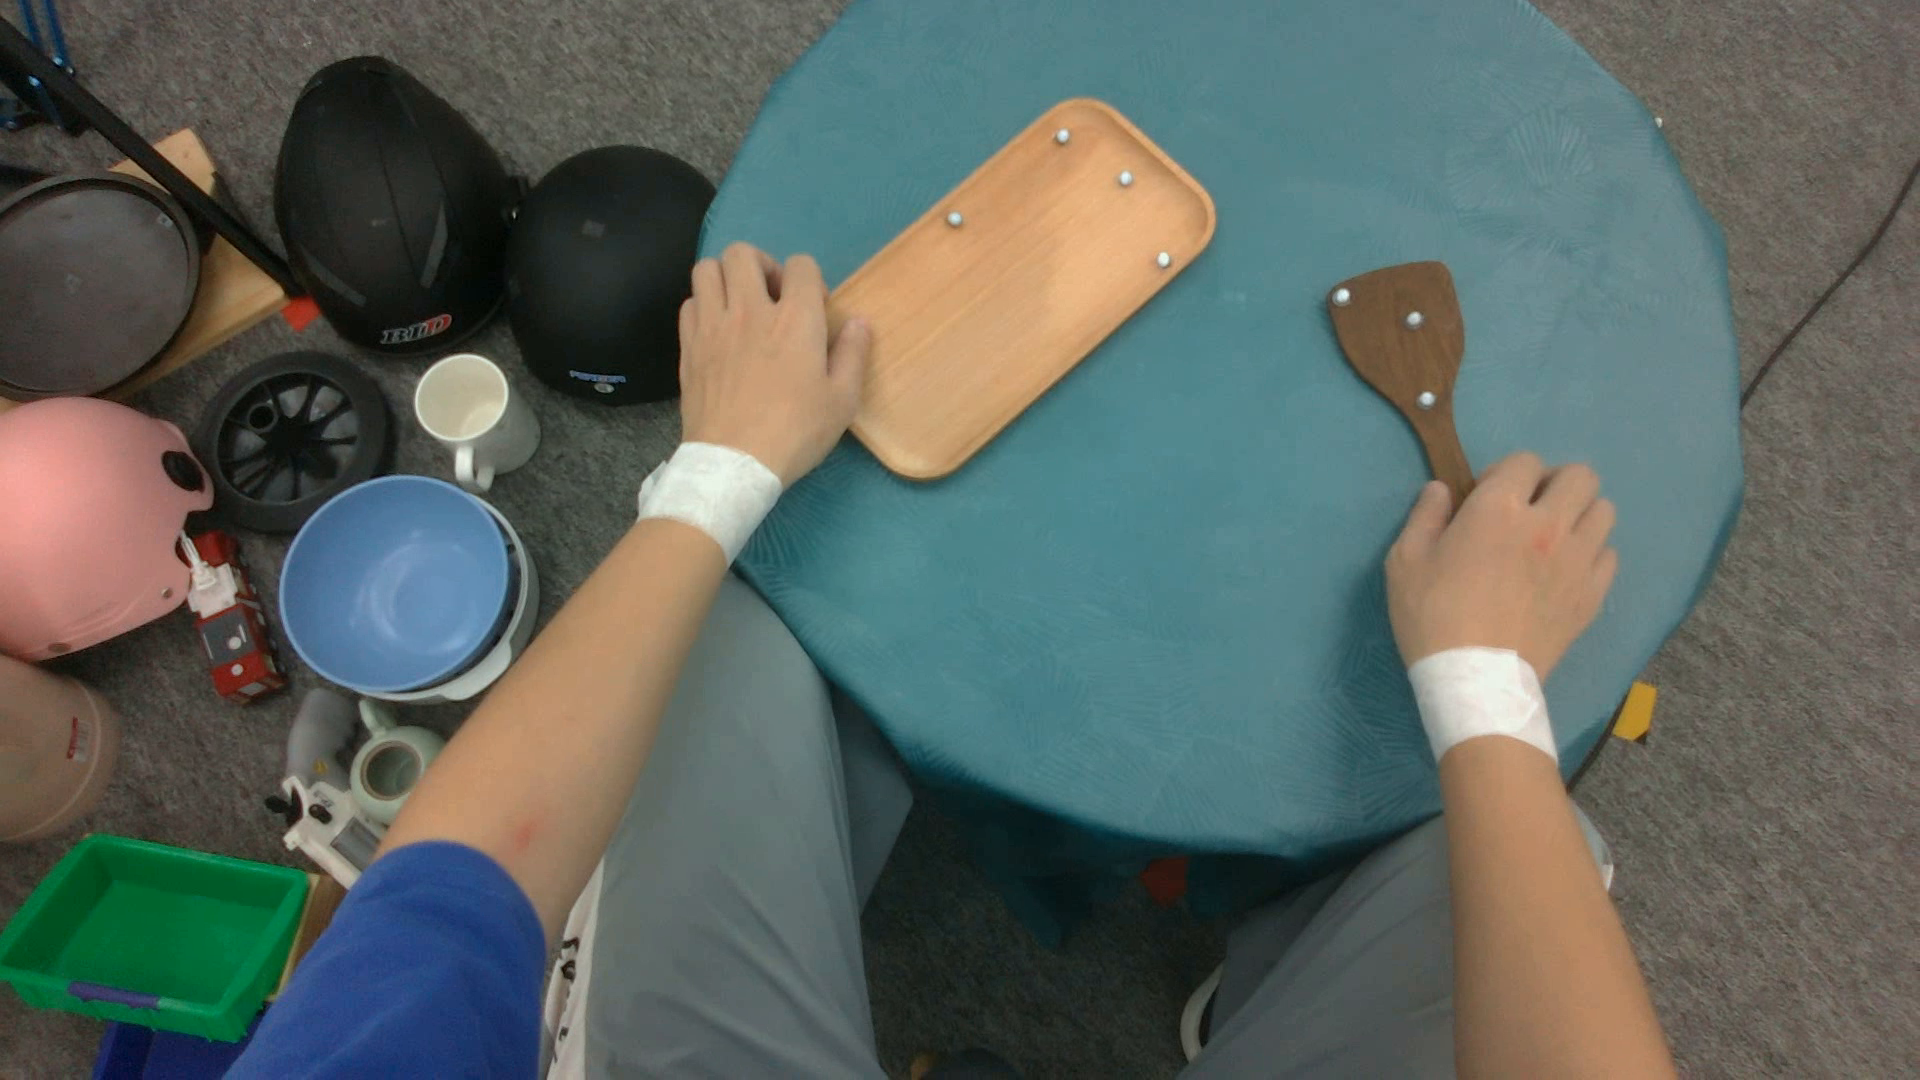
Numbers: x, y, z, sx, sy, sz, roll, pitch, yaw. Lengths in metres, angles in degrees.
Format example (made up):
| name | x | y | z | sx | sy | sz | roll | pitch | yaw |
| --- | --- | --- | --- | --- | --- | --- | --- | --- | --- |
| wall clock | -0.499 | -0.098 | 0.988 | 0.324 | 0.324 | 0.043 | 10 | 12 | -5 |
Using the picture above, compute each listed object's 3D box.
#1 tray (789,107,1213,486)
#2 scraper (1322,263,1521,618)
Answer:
| name | x | y | z | sx | sy | sz | roll | pitch | yaw |
| --- | --- | --- | --- | --- | --- | --- | --- | --- | --- |
| tray | 0.025 | -0.144 | 0.801 | 0.251 | 0.023 | 0.130 | -42 | 74 | -11 |
| scraper | 0.268 | -0.058 | 0.775 | 0.076 | 0.011 | 0.211 | -13 | 74 | -2 |
